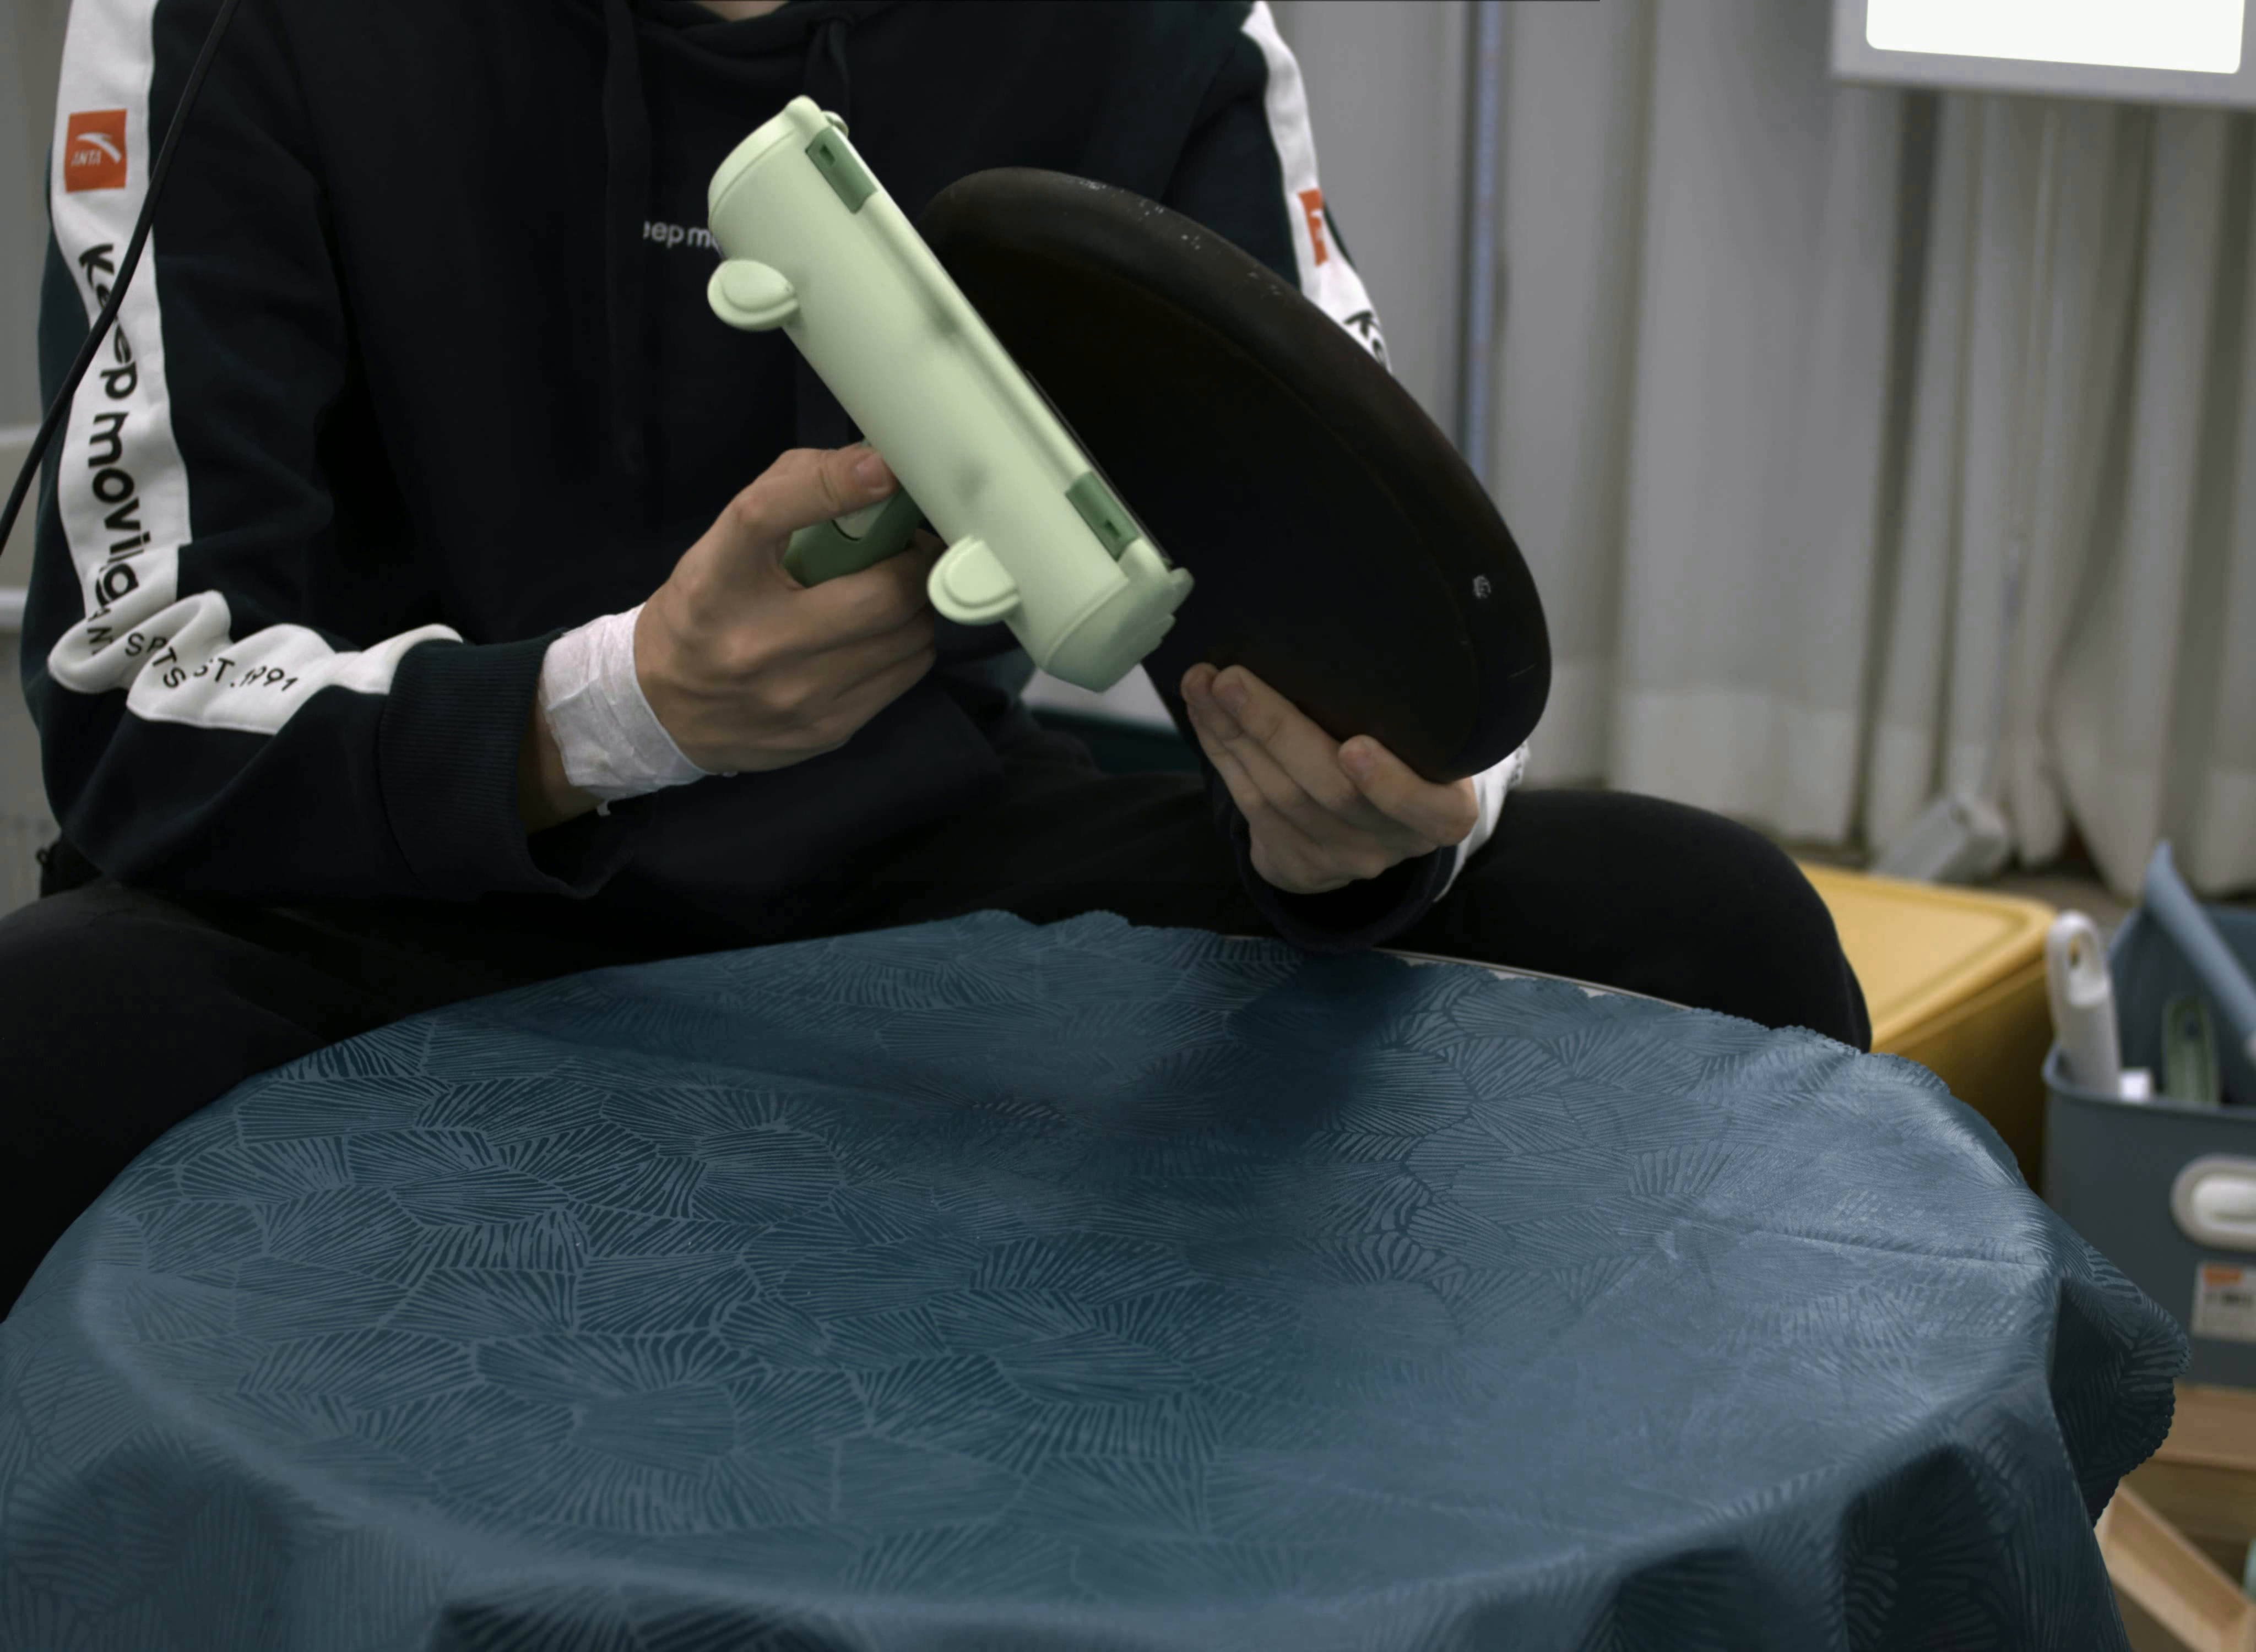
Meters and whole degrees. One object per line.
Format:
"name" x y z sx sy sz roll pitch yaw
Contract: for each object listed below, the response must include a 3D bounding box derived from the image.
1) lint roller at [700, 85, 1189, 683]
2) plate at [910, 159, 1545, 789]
"lint roller" -0.089 -0.100 1.626 0.082 0.183 0.197 -24 73 -47
"plate" 0.024 -0.104 1.644 0.251 0.258 0.029 17 59 44
